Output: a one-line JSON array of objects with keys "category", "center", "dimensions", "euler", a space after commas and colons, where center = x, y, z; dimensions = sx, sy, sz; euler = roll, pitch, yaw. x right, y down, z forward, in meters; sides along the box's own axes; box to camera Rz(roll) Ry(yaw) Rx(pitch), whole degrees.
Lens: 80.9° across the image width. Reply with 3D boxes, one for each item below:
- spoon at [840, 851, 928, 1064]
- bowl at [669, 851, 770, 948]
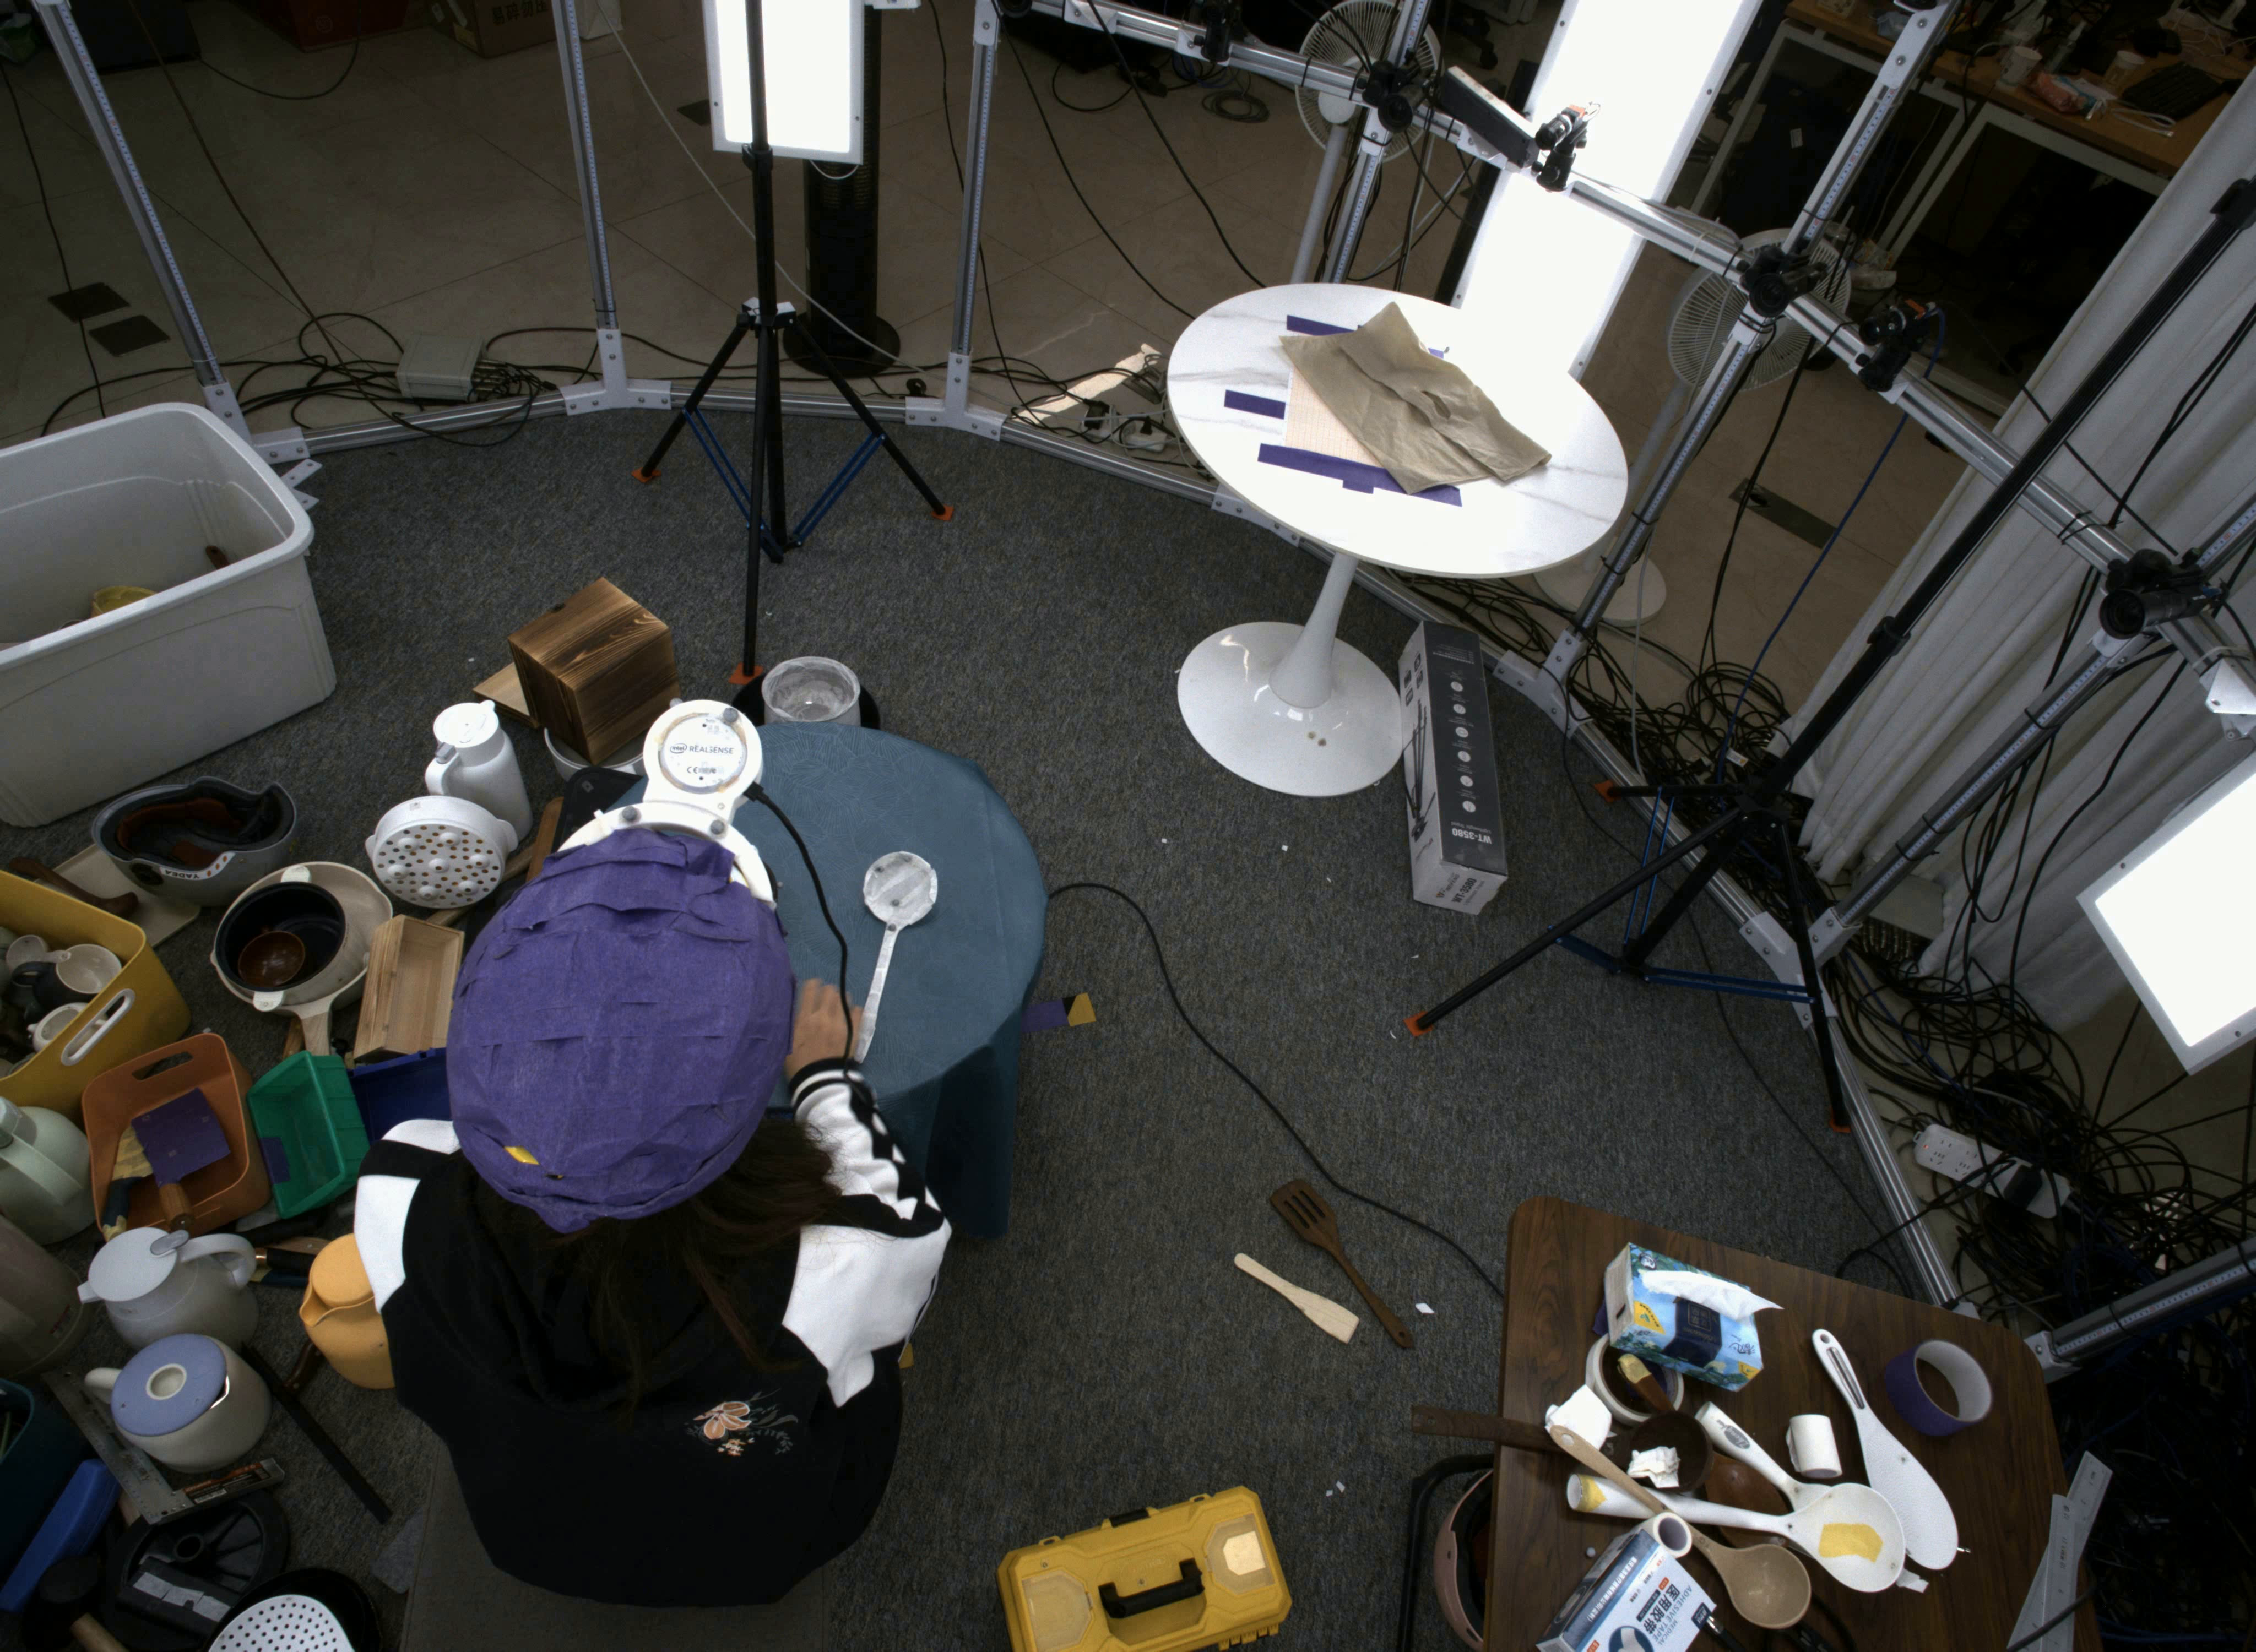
[{"category": "spoon", "center": [-0.317, 0.154, 1.594], "dimensions": [0.100, 0.061, 0.273], "euler": [11, 52, -1]}, {"category": "bowl", "center": [-0.498, 0.095, 1.581], "dimensions": [0.118, 0.071, 0.116], "euler": [7, 52, -8]}]
